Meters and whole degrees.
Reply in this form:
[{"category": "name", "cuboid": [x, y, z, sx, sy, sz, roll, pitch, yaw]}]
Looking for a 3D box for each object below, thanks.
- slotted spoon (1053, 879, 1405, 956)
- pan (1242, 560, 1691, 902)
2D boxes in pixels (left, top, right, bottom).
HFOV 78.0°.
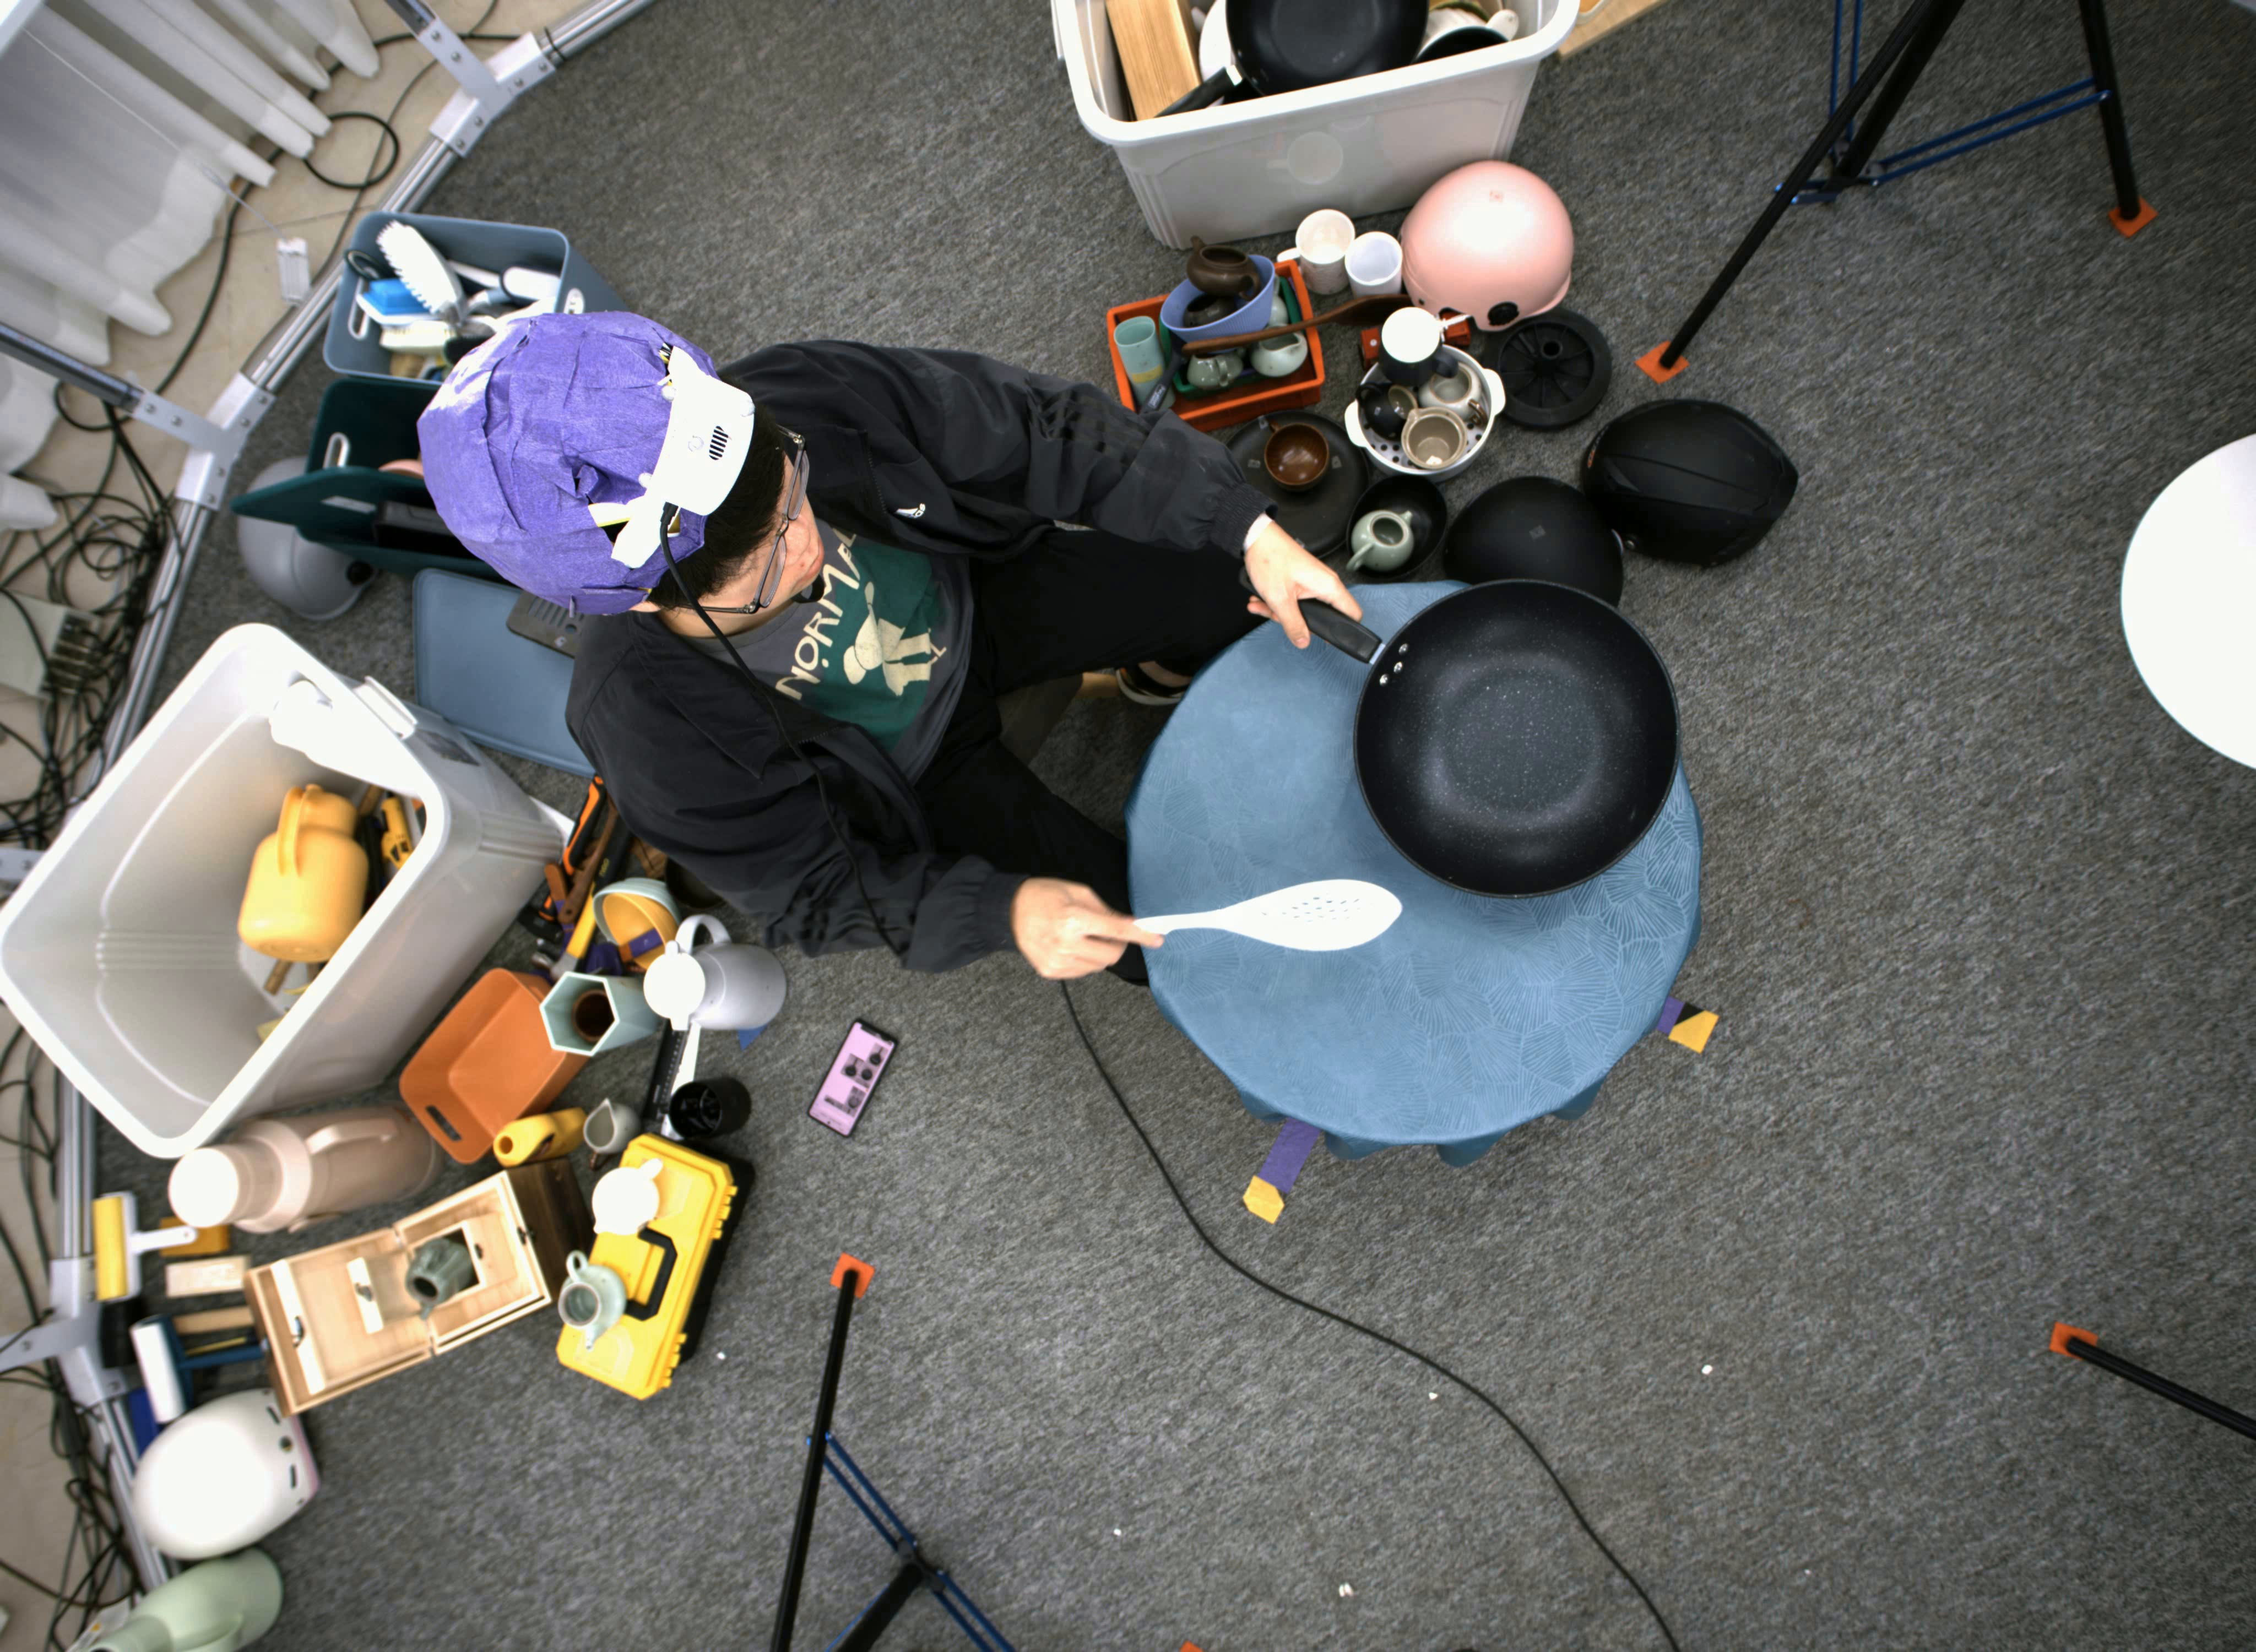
[{"category": "slotted spoon", "cuboid": [0.092, 0.095, 1.335, 0.350, 0.137, 0.049, -4, 75, 22]}, {"category": "pan", "cuboid": [0.321, -0.129, 1.364, 0.474, 0.111, 0.313, 36, 103, 18]}]
